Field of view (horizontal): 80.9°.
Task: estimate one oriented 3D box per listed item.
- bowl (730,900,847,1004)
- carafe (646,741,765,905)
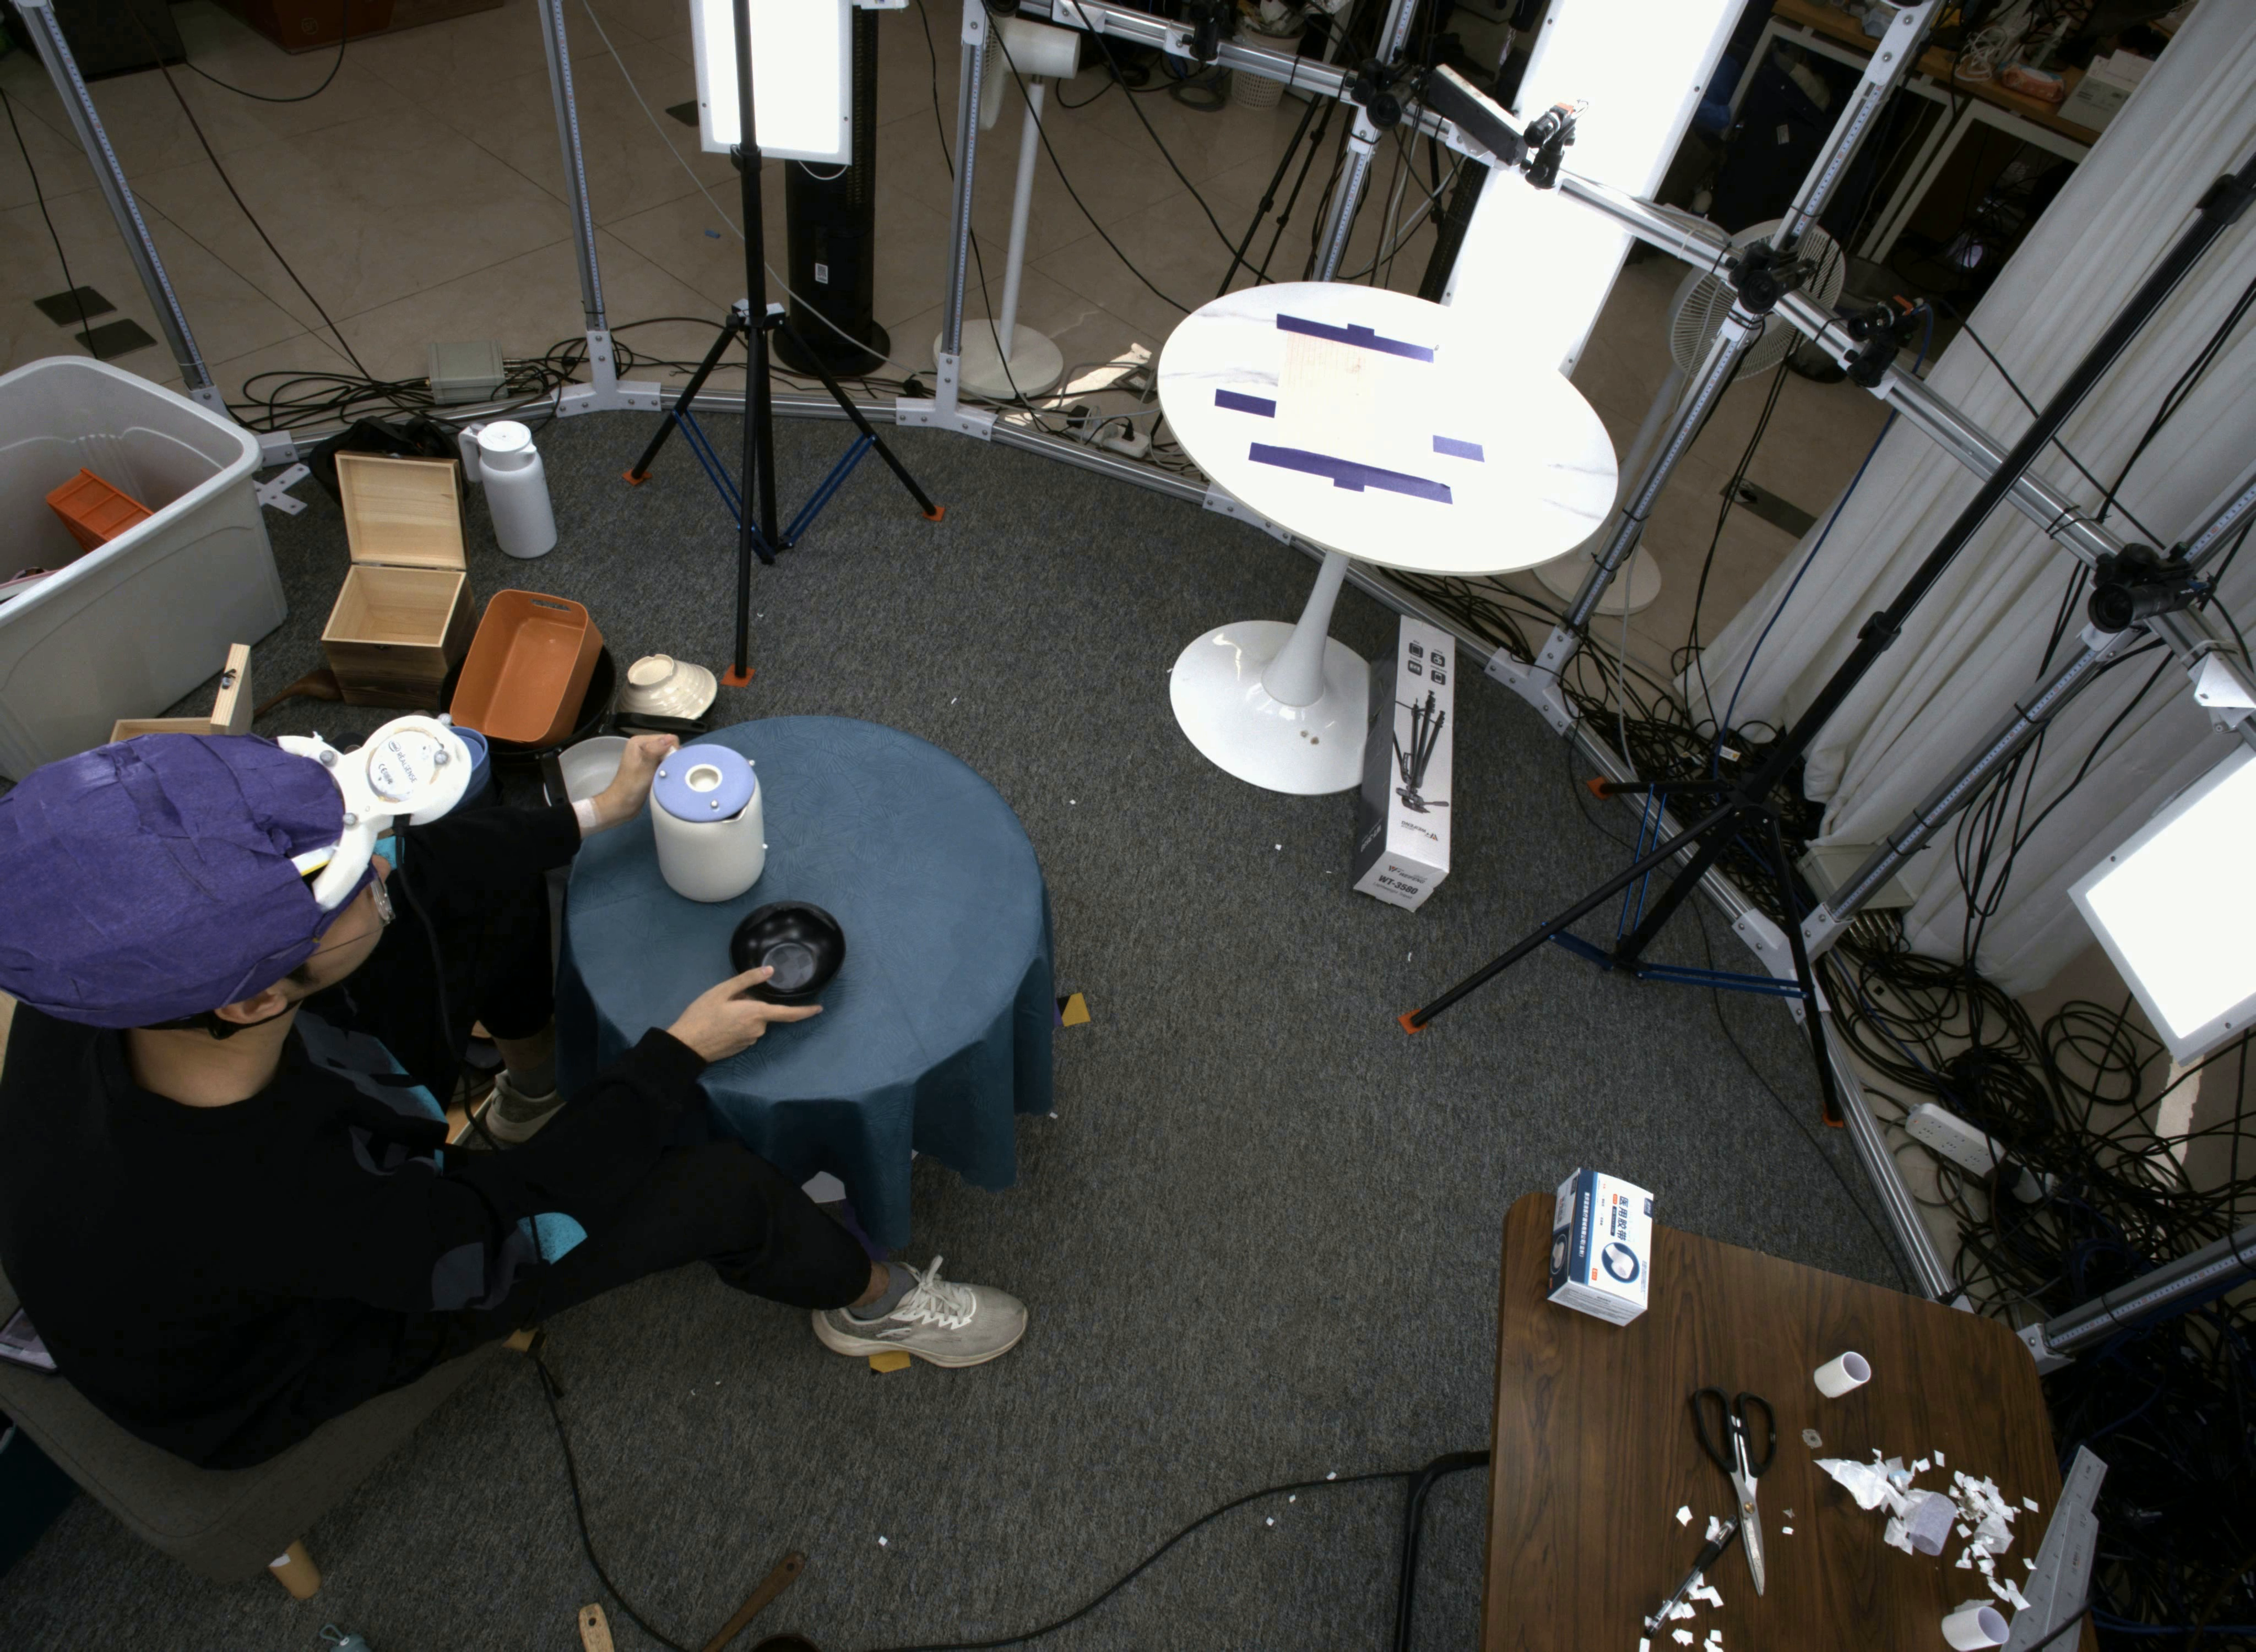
[{"bbox_3d":[-0.413,0.159,1.584,0.139,0.051,0.137,7,54,-8],"label":"bowl"},{"bbox_3d":[-0.538,-0.019,1.603,0.186,0.187,0.132,39,53,19],"label":"carafe"}]
